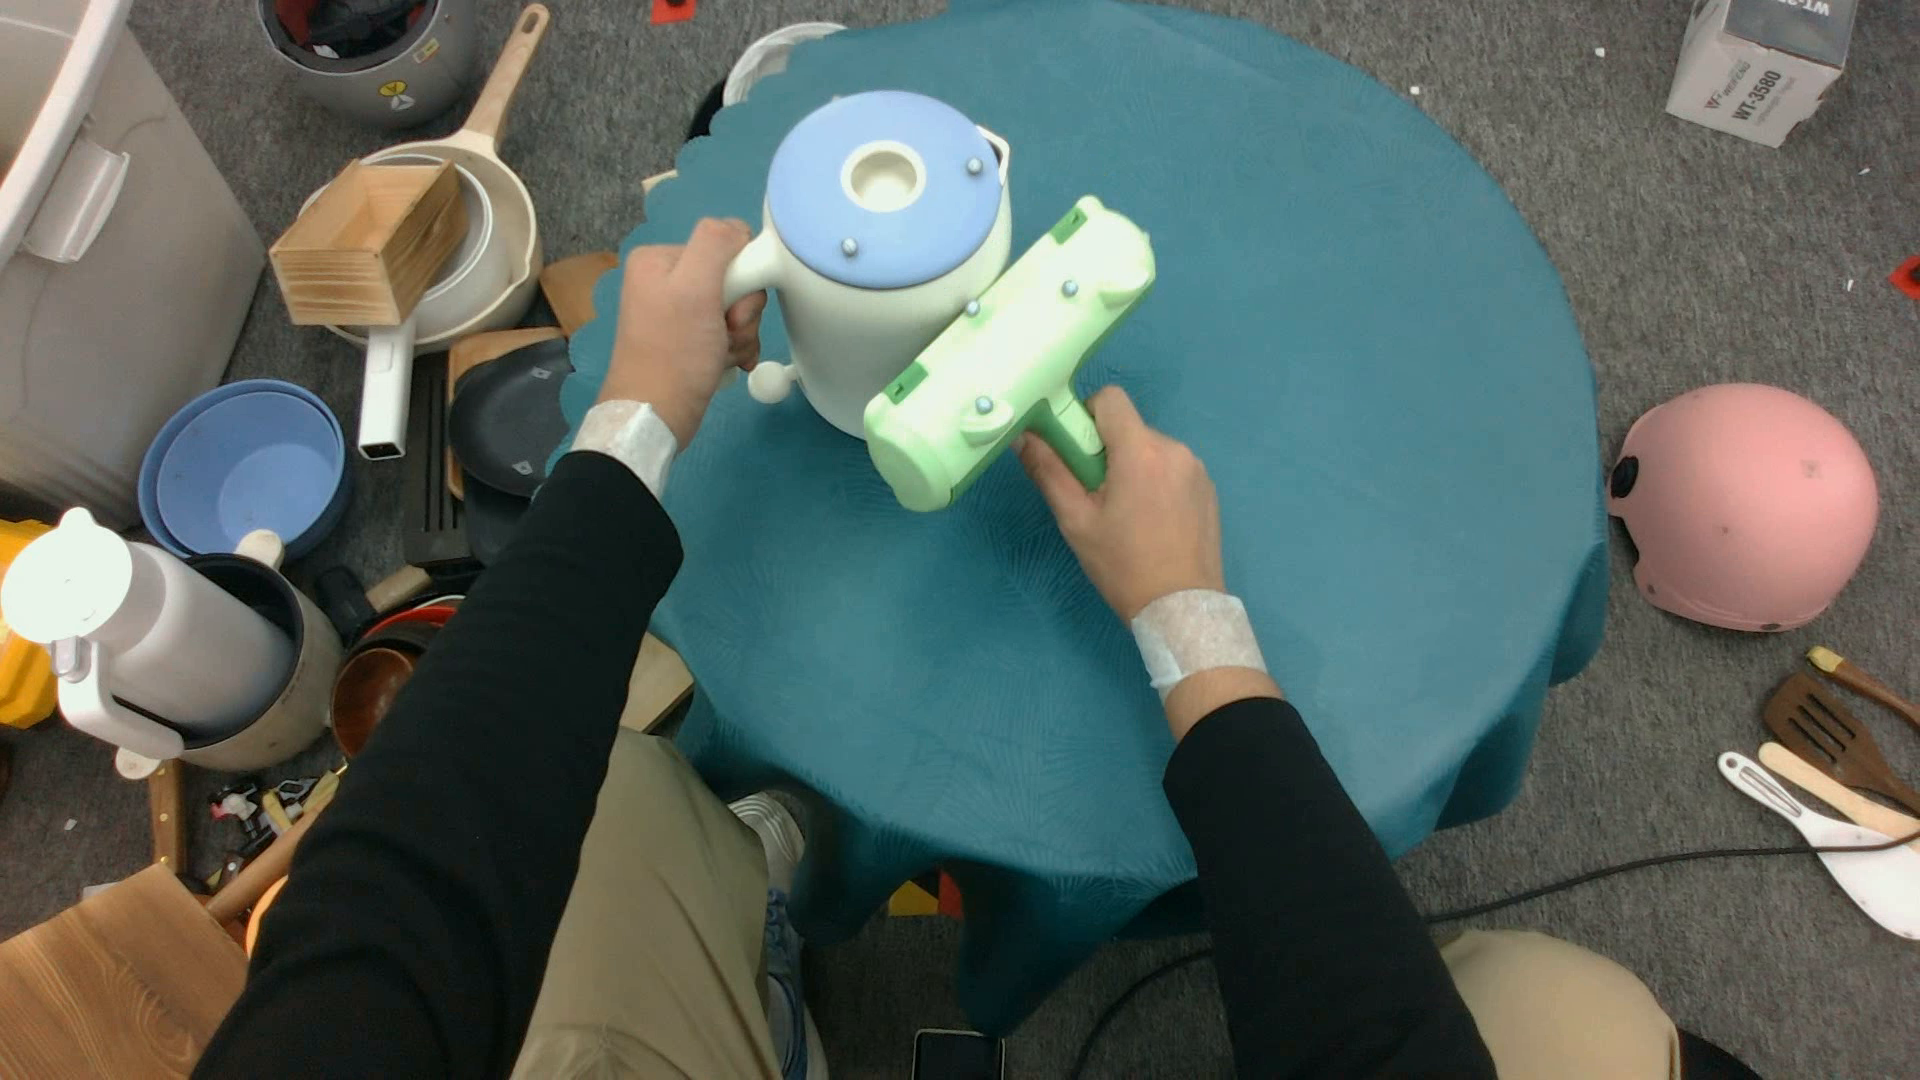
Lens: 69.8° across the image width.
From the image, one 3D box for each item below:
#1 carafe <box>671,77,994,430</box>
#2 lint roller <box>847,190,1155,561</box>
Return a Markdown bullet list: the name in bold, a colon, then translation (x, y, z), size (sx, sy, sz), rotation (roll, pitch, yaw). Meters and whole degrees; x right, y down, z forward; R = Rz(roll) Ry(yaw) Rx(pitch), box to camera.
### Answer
- **carafe**: translation (-0.069, -0.143, 0.762), size (0.191, 0.182, 0.132), rotation (-25, 69, -8)
- **lint roller**: translation (0.060, -0.063, 0.727), size (0.183, 0.082, 0.199), rotation (49, 63, -12)
